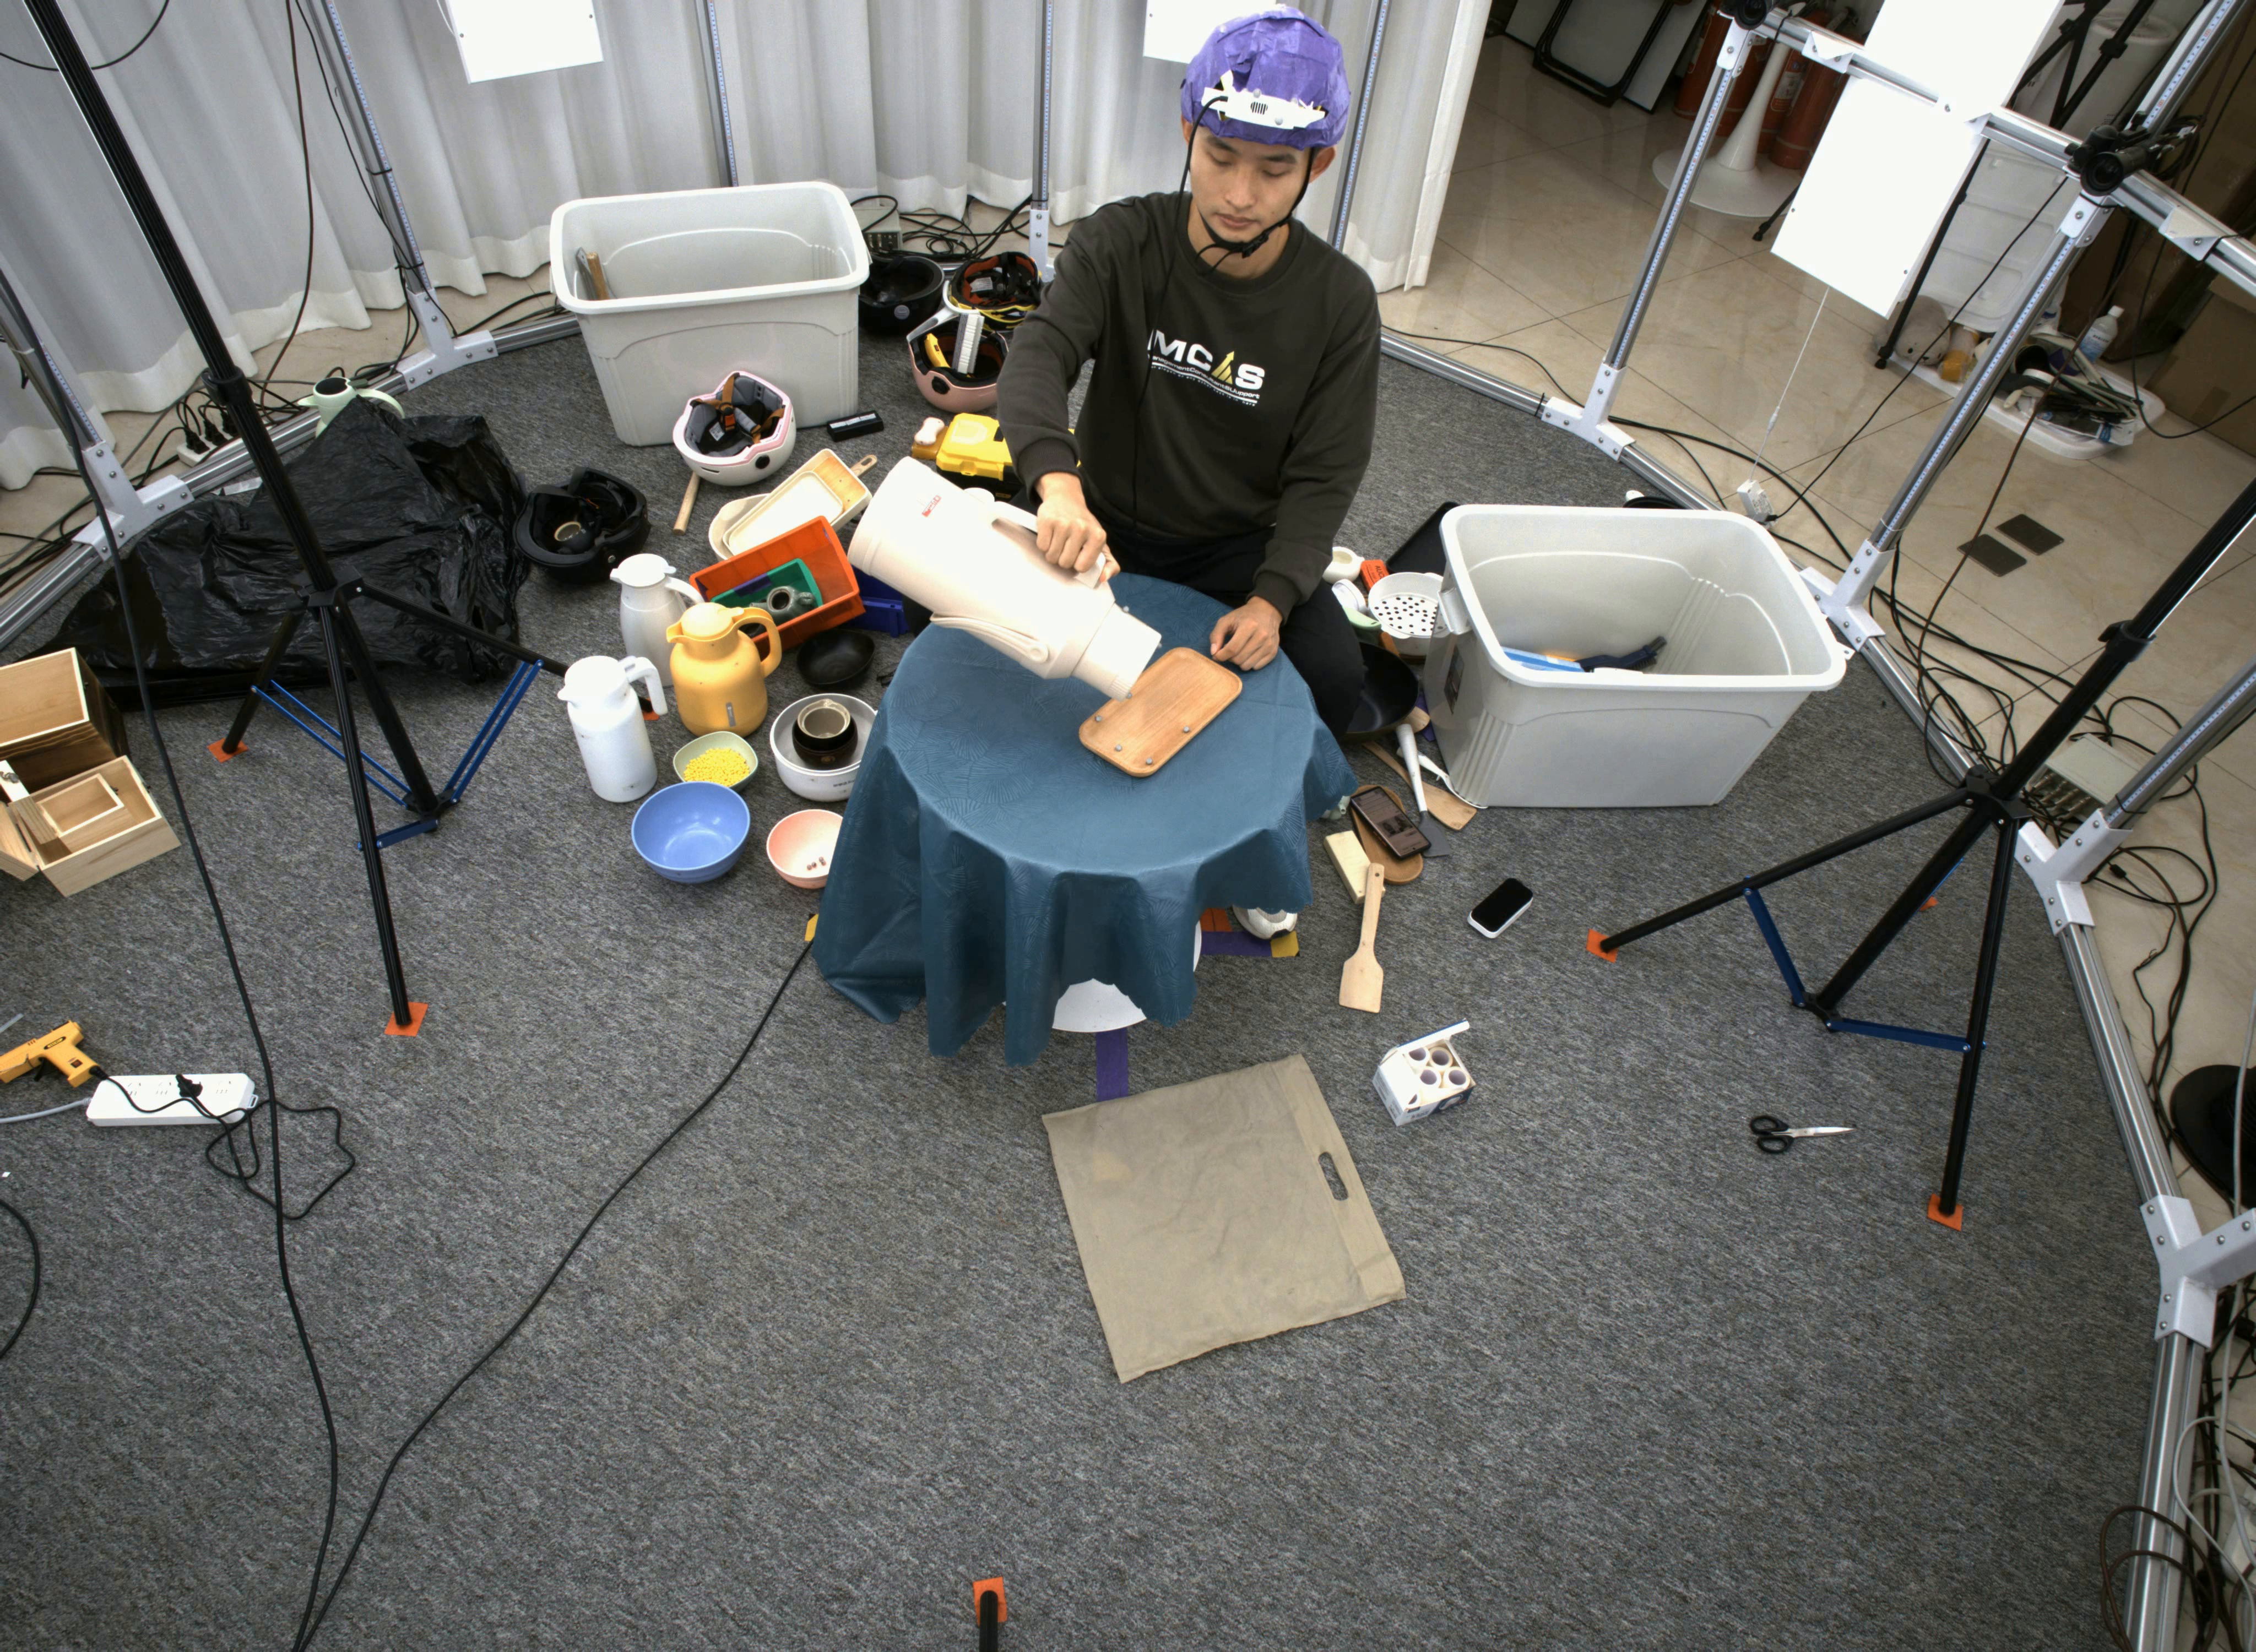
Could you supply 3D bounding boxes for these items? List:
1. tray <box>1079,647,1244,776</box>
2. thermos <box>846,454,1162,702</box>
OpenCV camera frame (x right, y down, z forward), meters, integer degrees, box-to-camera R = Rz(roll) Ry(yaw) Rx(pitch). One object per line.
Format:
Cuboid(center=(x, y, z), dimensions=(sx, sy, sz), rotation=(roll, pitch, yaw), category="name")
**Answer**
Cuboid(center=(0.049, -0.163, 1.799), dimensions=(0.132, 0.022, 0.253), rotation=(35, 54, 21), category="tray")
Cuboid(center=(-0.147, -0.320, 1.673), dimensions=(0.405, 0.203, 0.179), rotation=(32, 43, -3), category="thermos")
